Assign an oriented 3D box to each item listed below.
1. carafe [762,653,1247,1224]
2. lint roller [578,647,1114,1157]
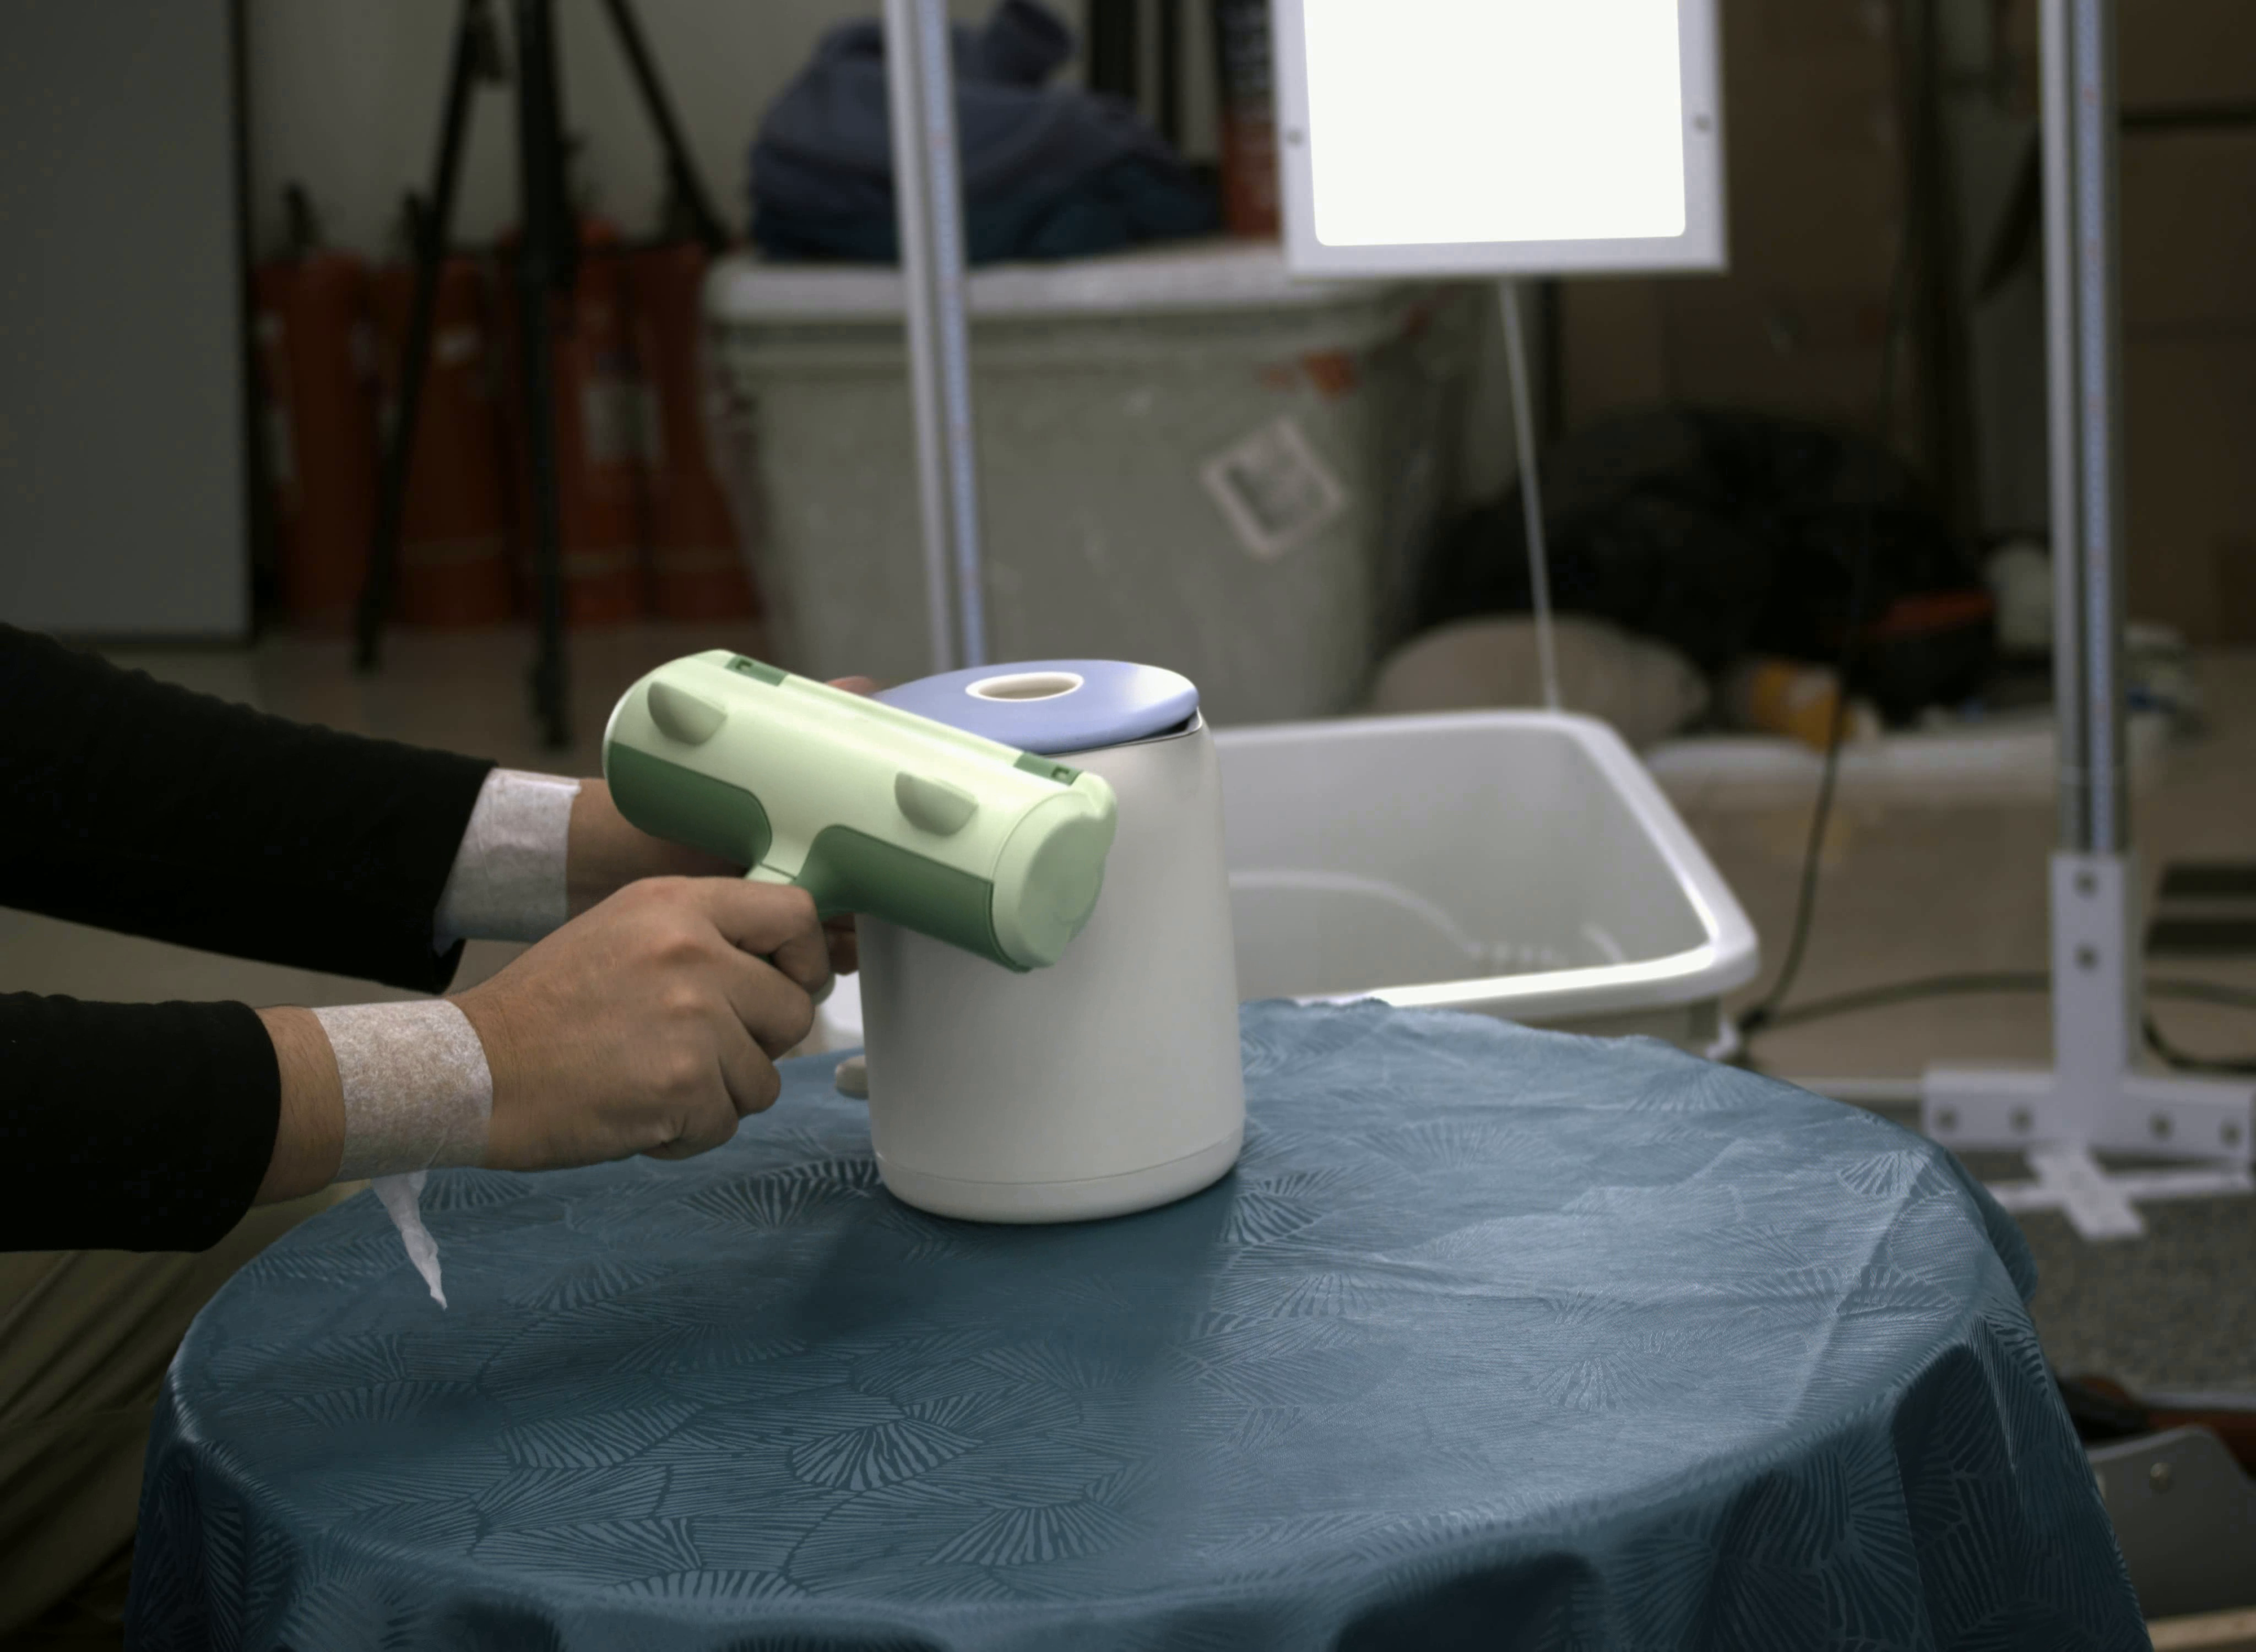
[{"bbox_3d":[-0.049,0.037,1.919,0.195,0.183,0.129,3,15,34],"label":"carafe"},{"bbox_3d":[-0.128,0.022,1.804,0.202,0.082,0.180,19,55,40],"label":"lint roller"}]
